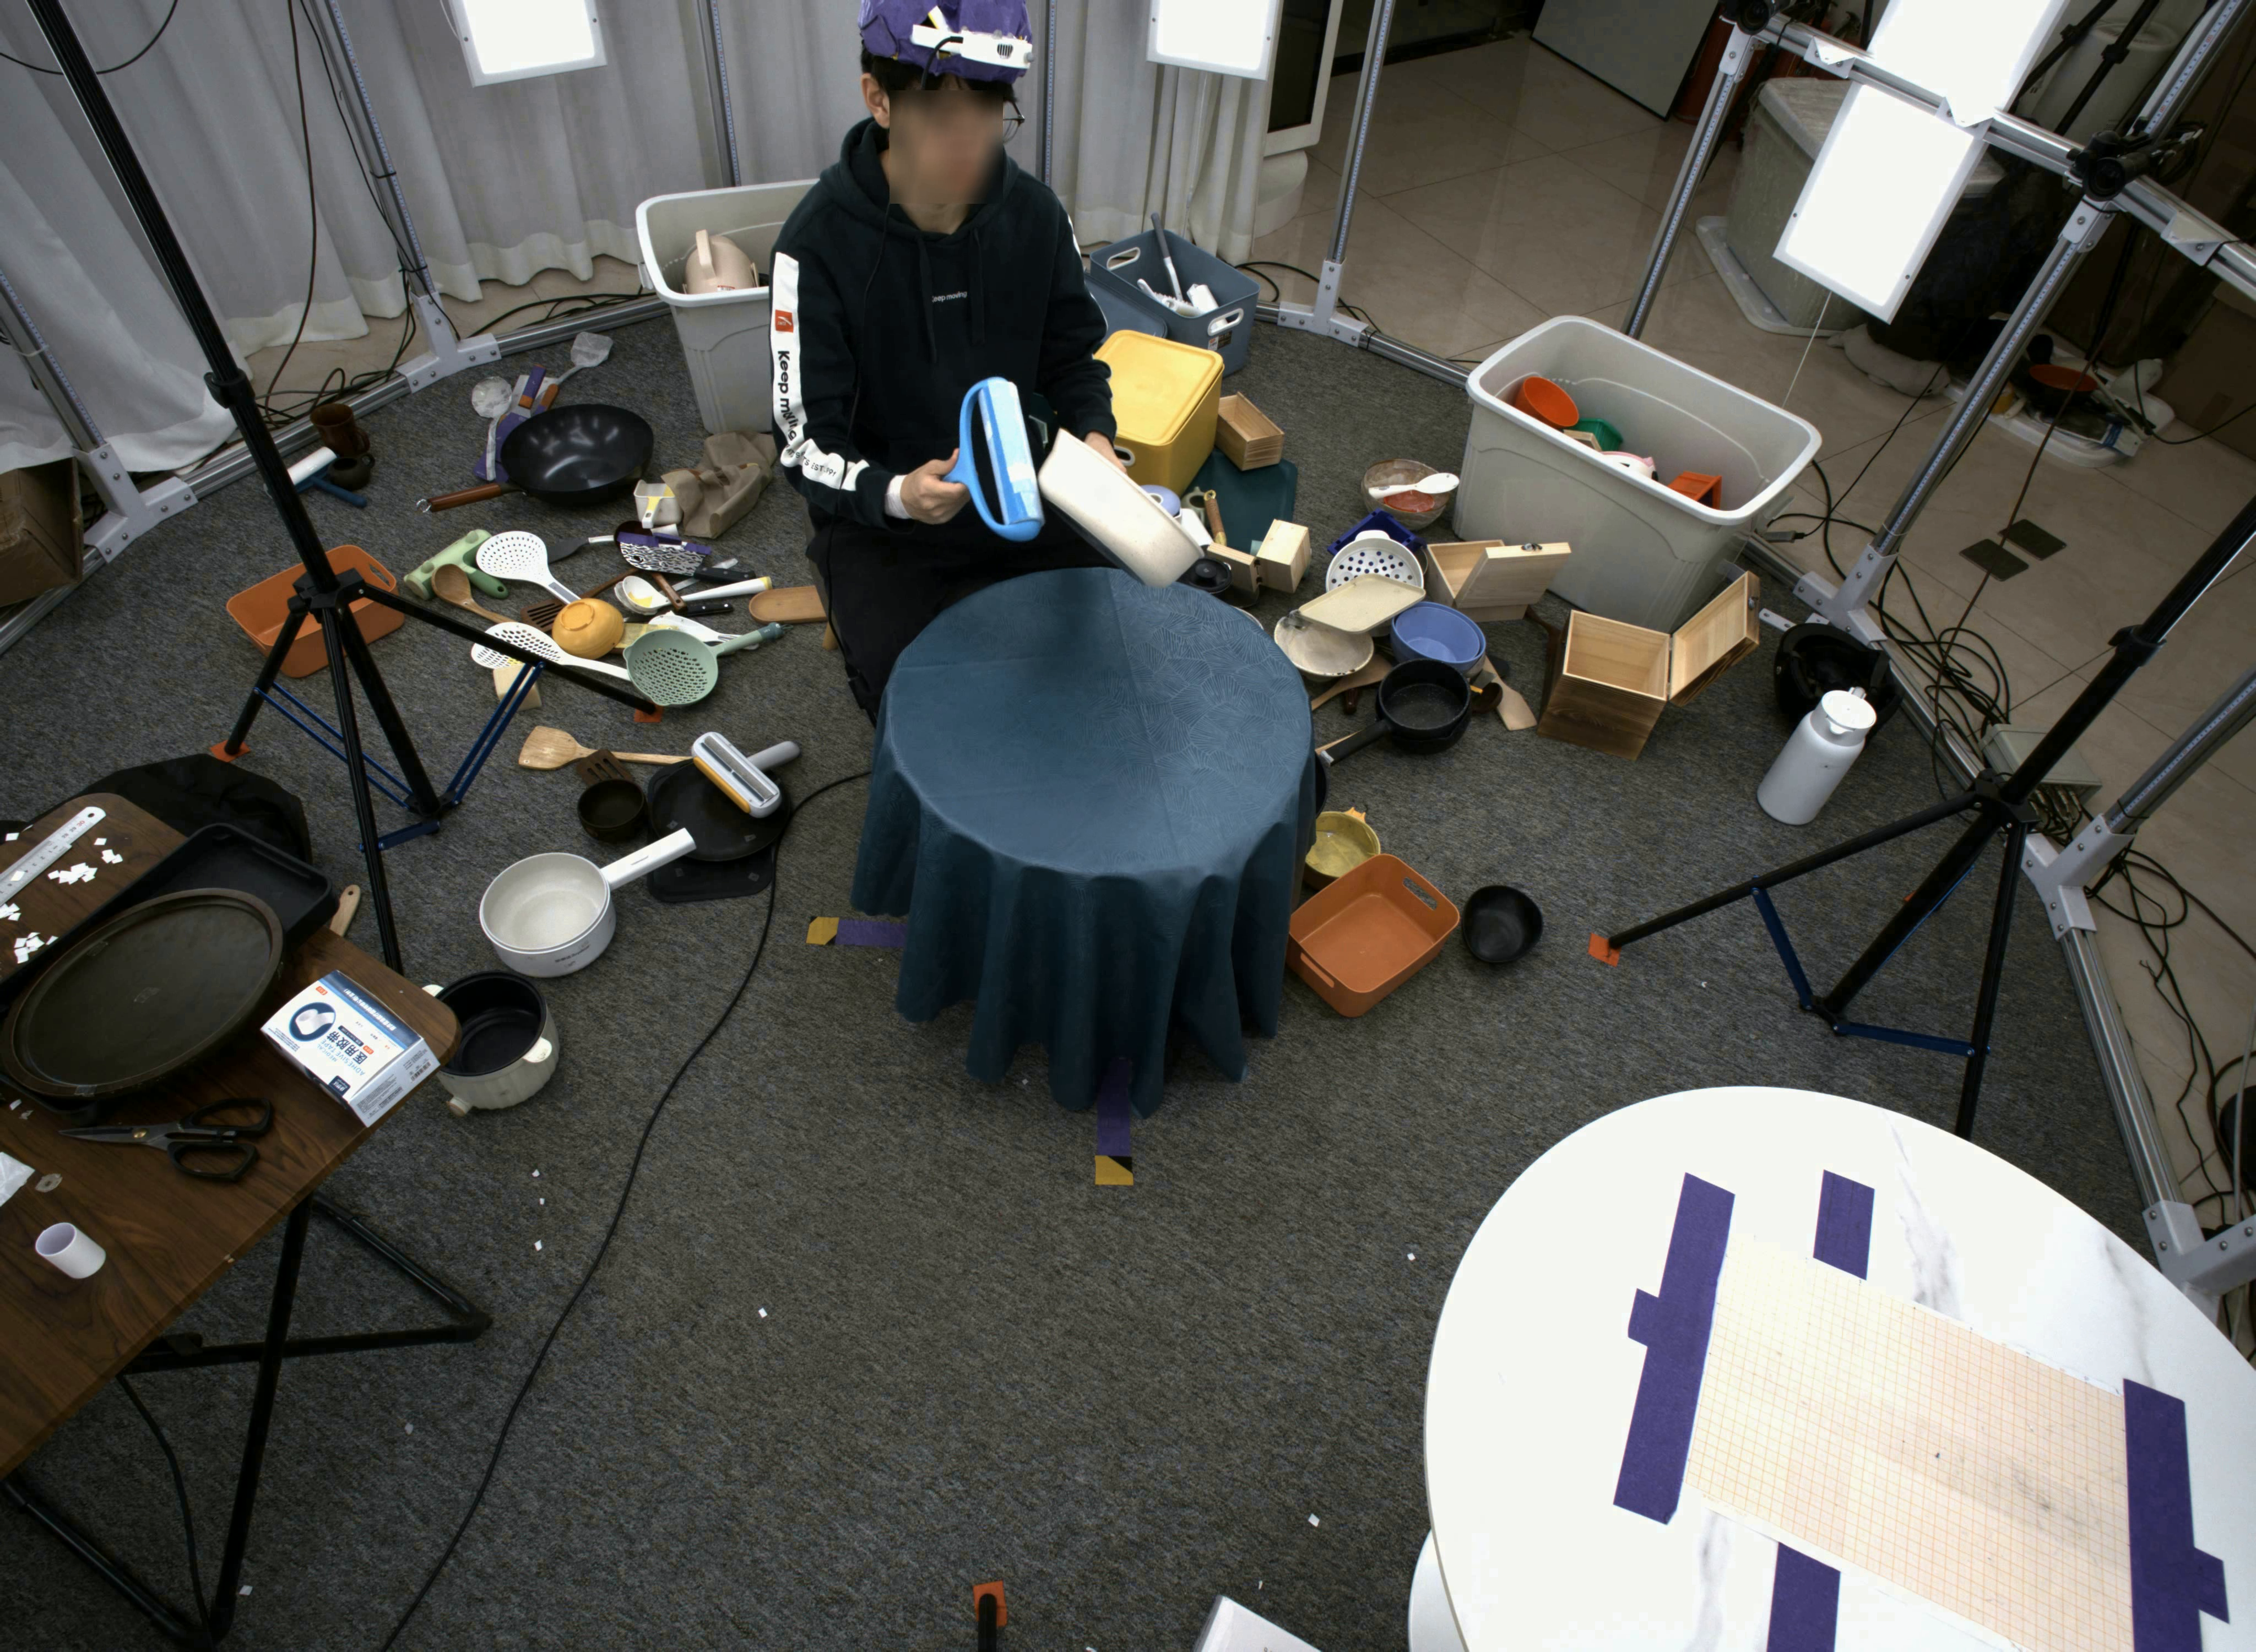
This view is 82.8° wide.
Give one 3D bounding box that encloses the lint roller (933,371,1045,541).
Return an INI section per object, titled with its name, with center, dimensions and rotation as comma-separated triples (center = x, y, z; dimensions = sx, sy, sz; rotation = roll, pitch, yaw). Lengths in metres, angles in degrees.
[lint roller]
center = -0.204, -0.467, 1.722
dimensions = 0.179, 0.067, 0.231
rotation = -20, 80, 29

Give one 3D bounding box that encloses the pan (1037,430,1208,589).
[pan]
center = -0.037, -0.449, 1.811
dimensions = 0.260, 0.101, 0.442
rotation = 36, 6, -25
